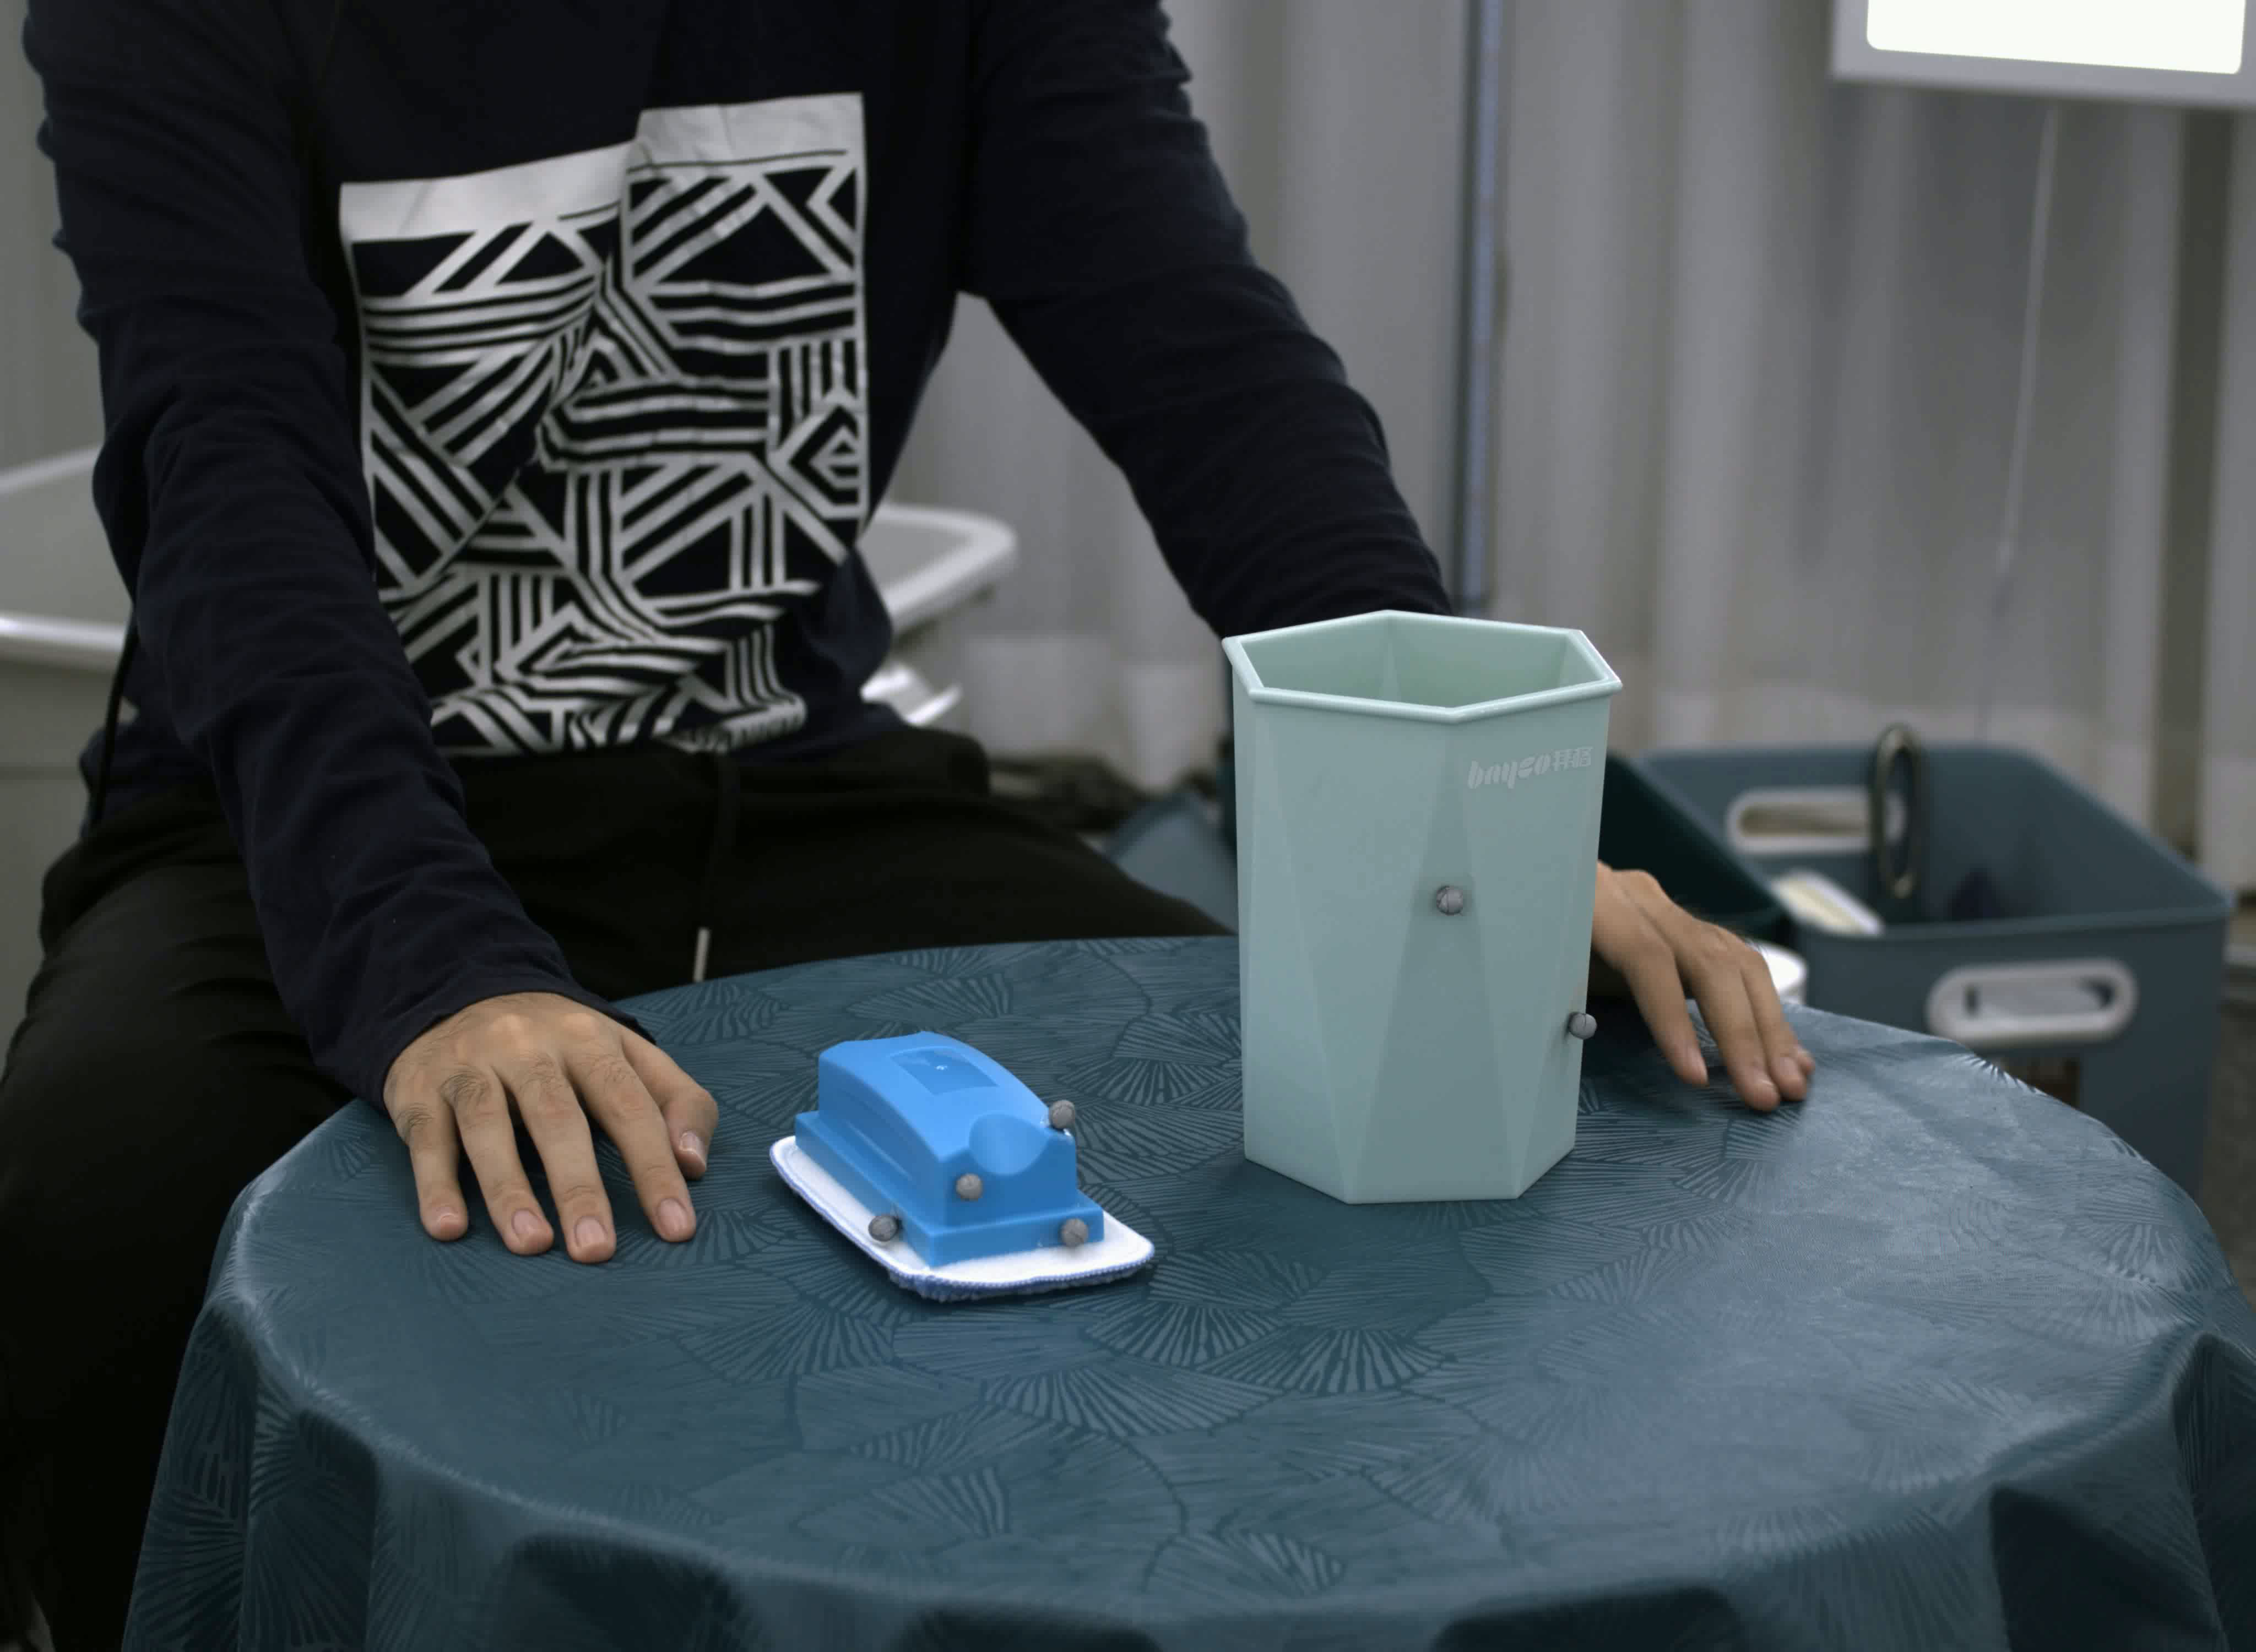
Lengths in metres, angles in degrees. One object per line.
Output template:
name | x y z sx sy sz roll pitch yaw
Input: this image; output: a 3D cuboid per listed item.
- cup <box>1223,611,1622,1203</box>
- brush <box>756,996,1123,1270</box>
cup | 0.091 0.026 1.639 0.131 0.164 0.113 -12 19 -36
brush | -0.056 0.090 1.590 0.084 0.056 0.142 -2 18 -21
